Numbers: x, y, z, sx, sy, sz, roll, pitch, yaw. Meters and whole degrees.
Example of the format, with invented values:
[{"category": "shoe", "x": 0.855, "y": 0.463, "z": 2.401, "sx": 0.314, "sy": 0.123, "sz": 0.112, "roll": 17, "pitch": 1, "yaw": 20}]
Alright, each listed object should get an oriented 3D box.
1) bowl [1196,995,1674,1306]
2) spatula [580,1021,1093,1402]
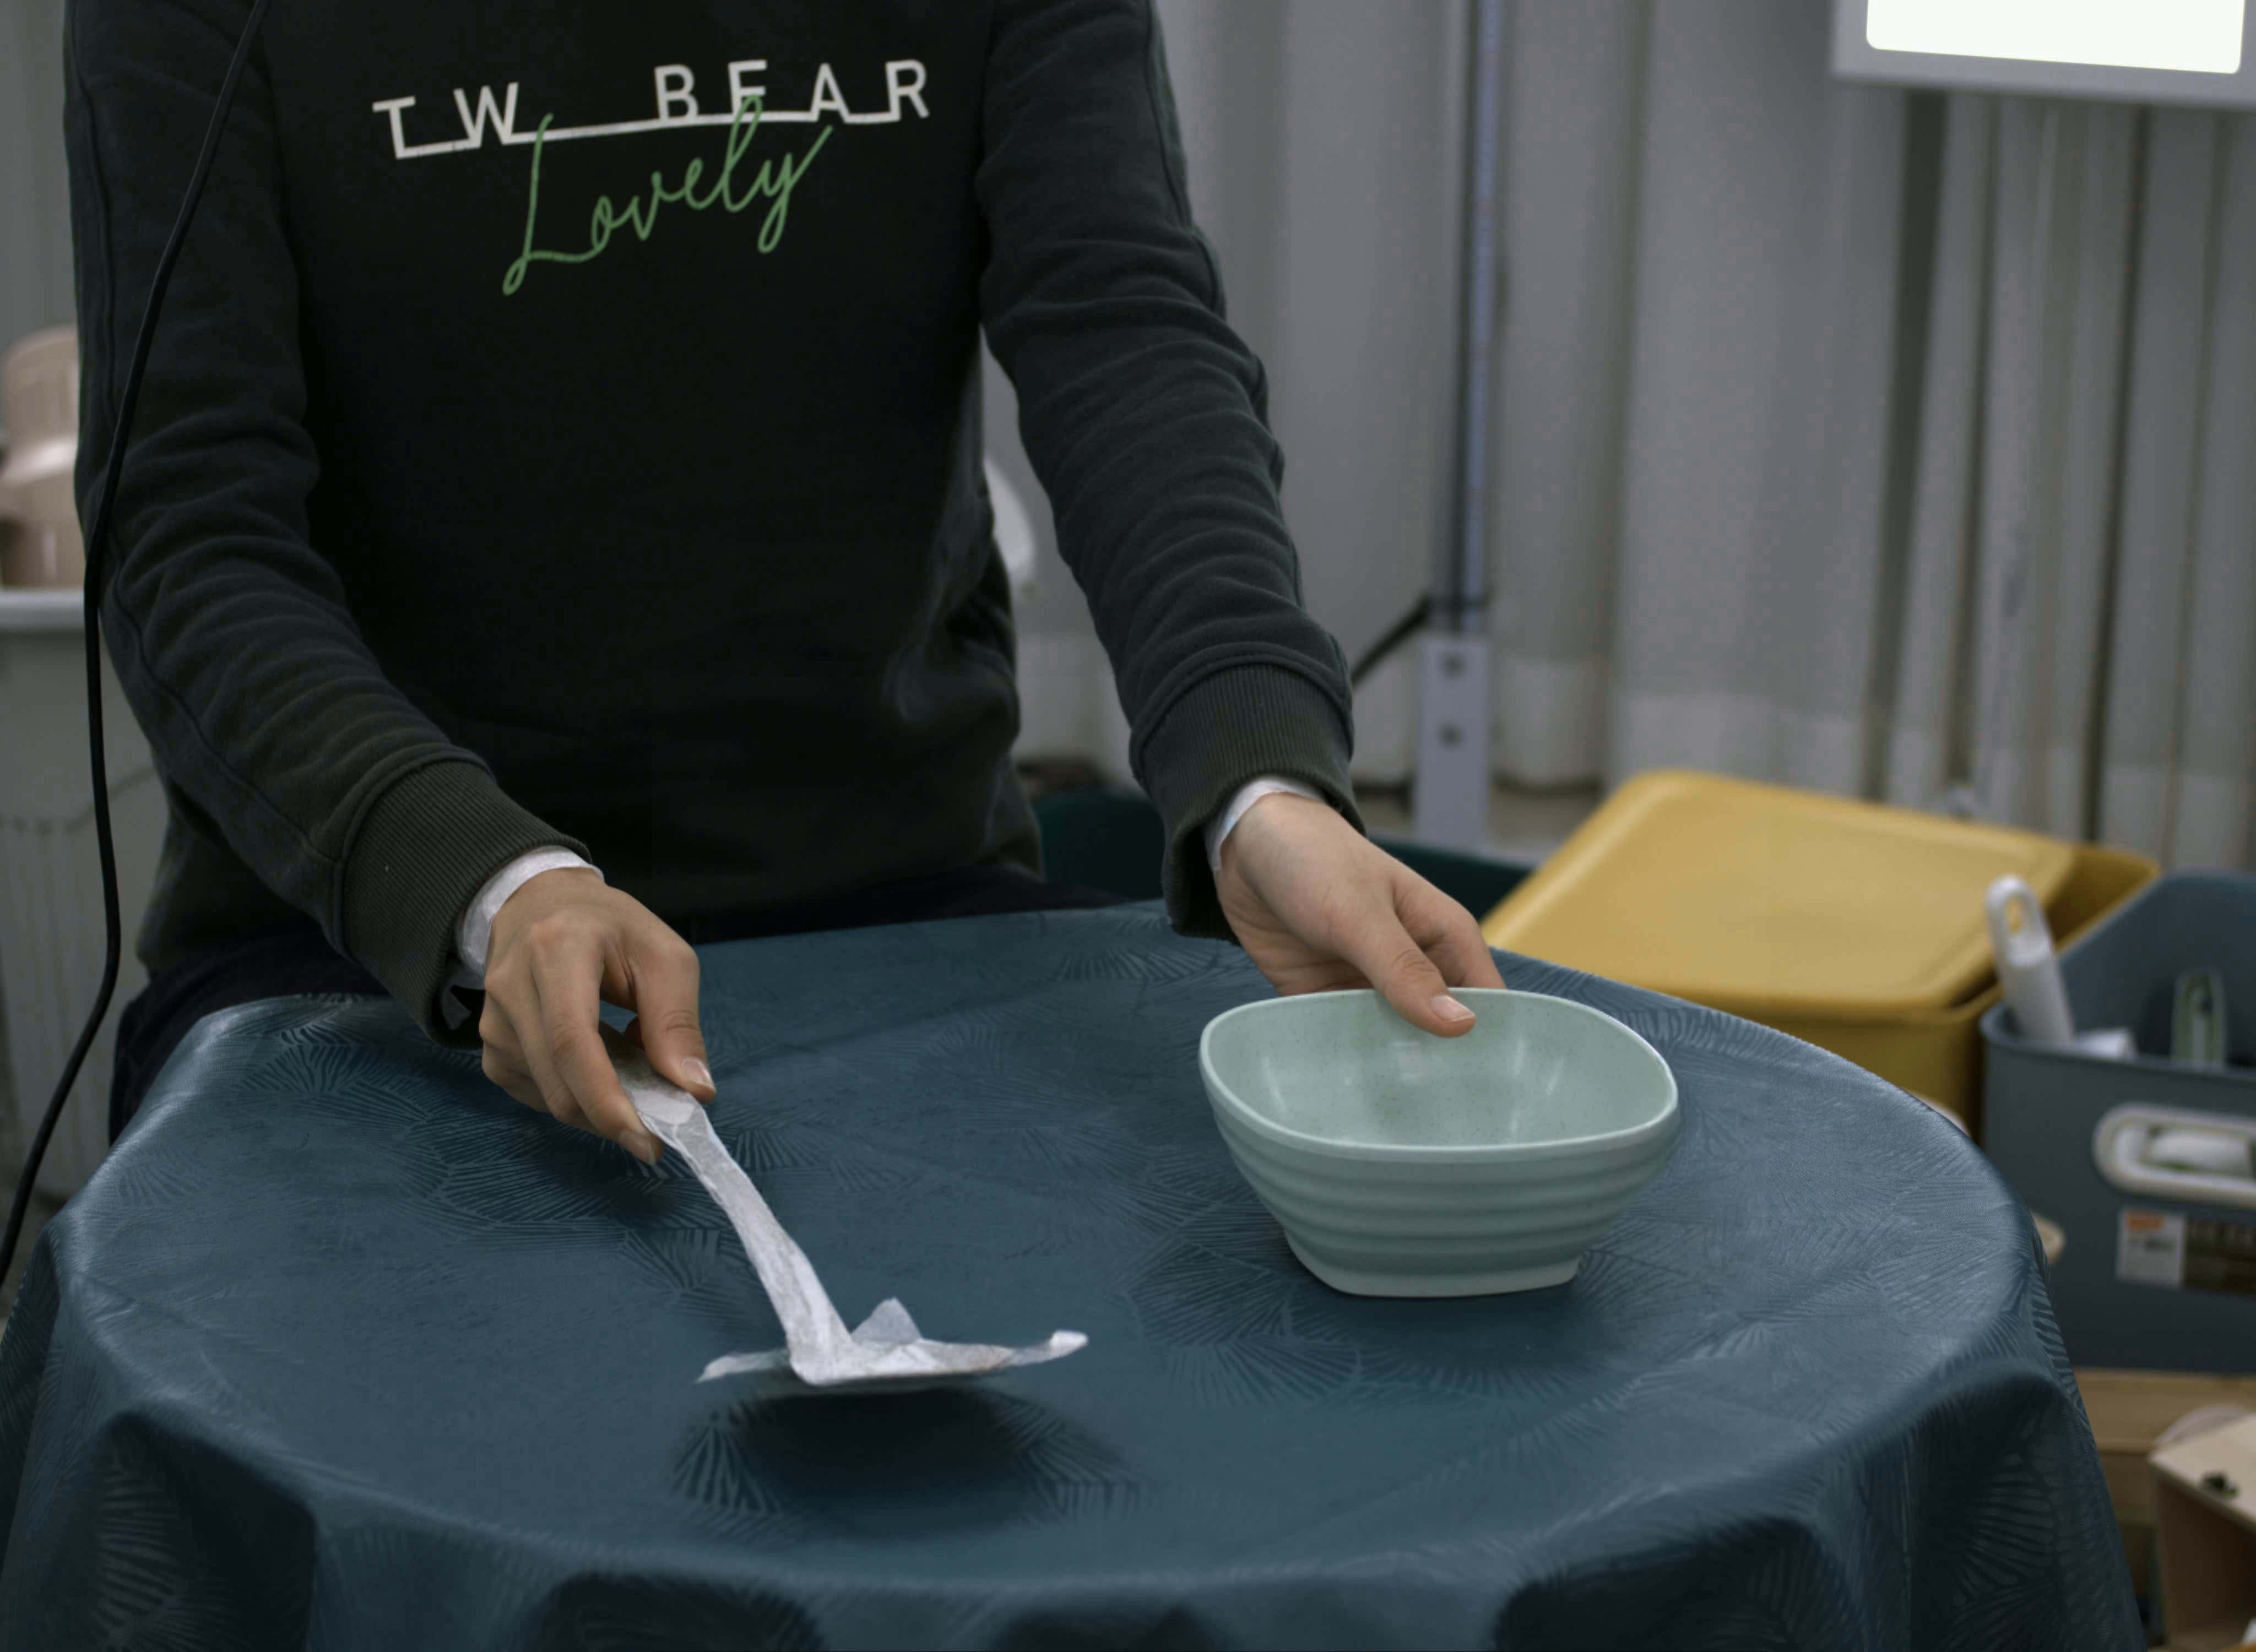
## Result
[{"category": "bowl", "x": 0.089, "y": 0.100, "z": 1.568, "sx": 0.151, "sy": 0.059, "sz": 0.150, "roll": 4, "pitch": 18, "yaw": -1}, {"category": "spatula", "x": -0.111, "y": 0.104, "z": 1.539, "sx": 0.099, "sy": 0.045, "sz": 0.360, "roll": -4, "pitch": 20, "yaw": -20}]
